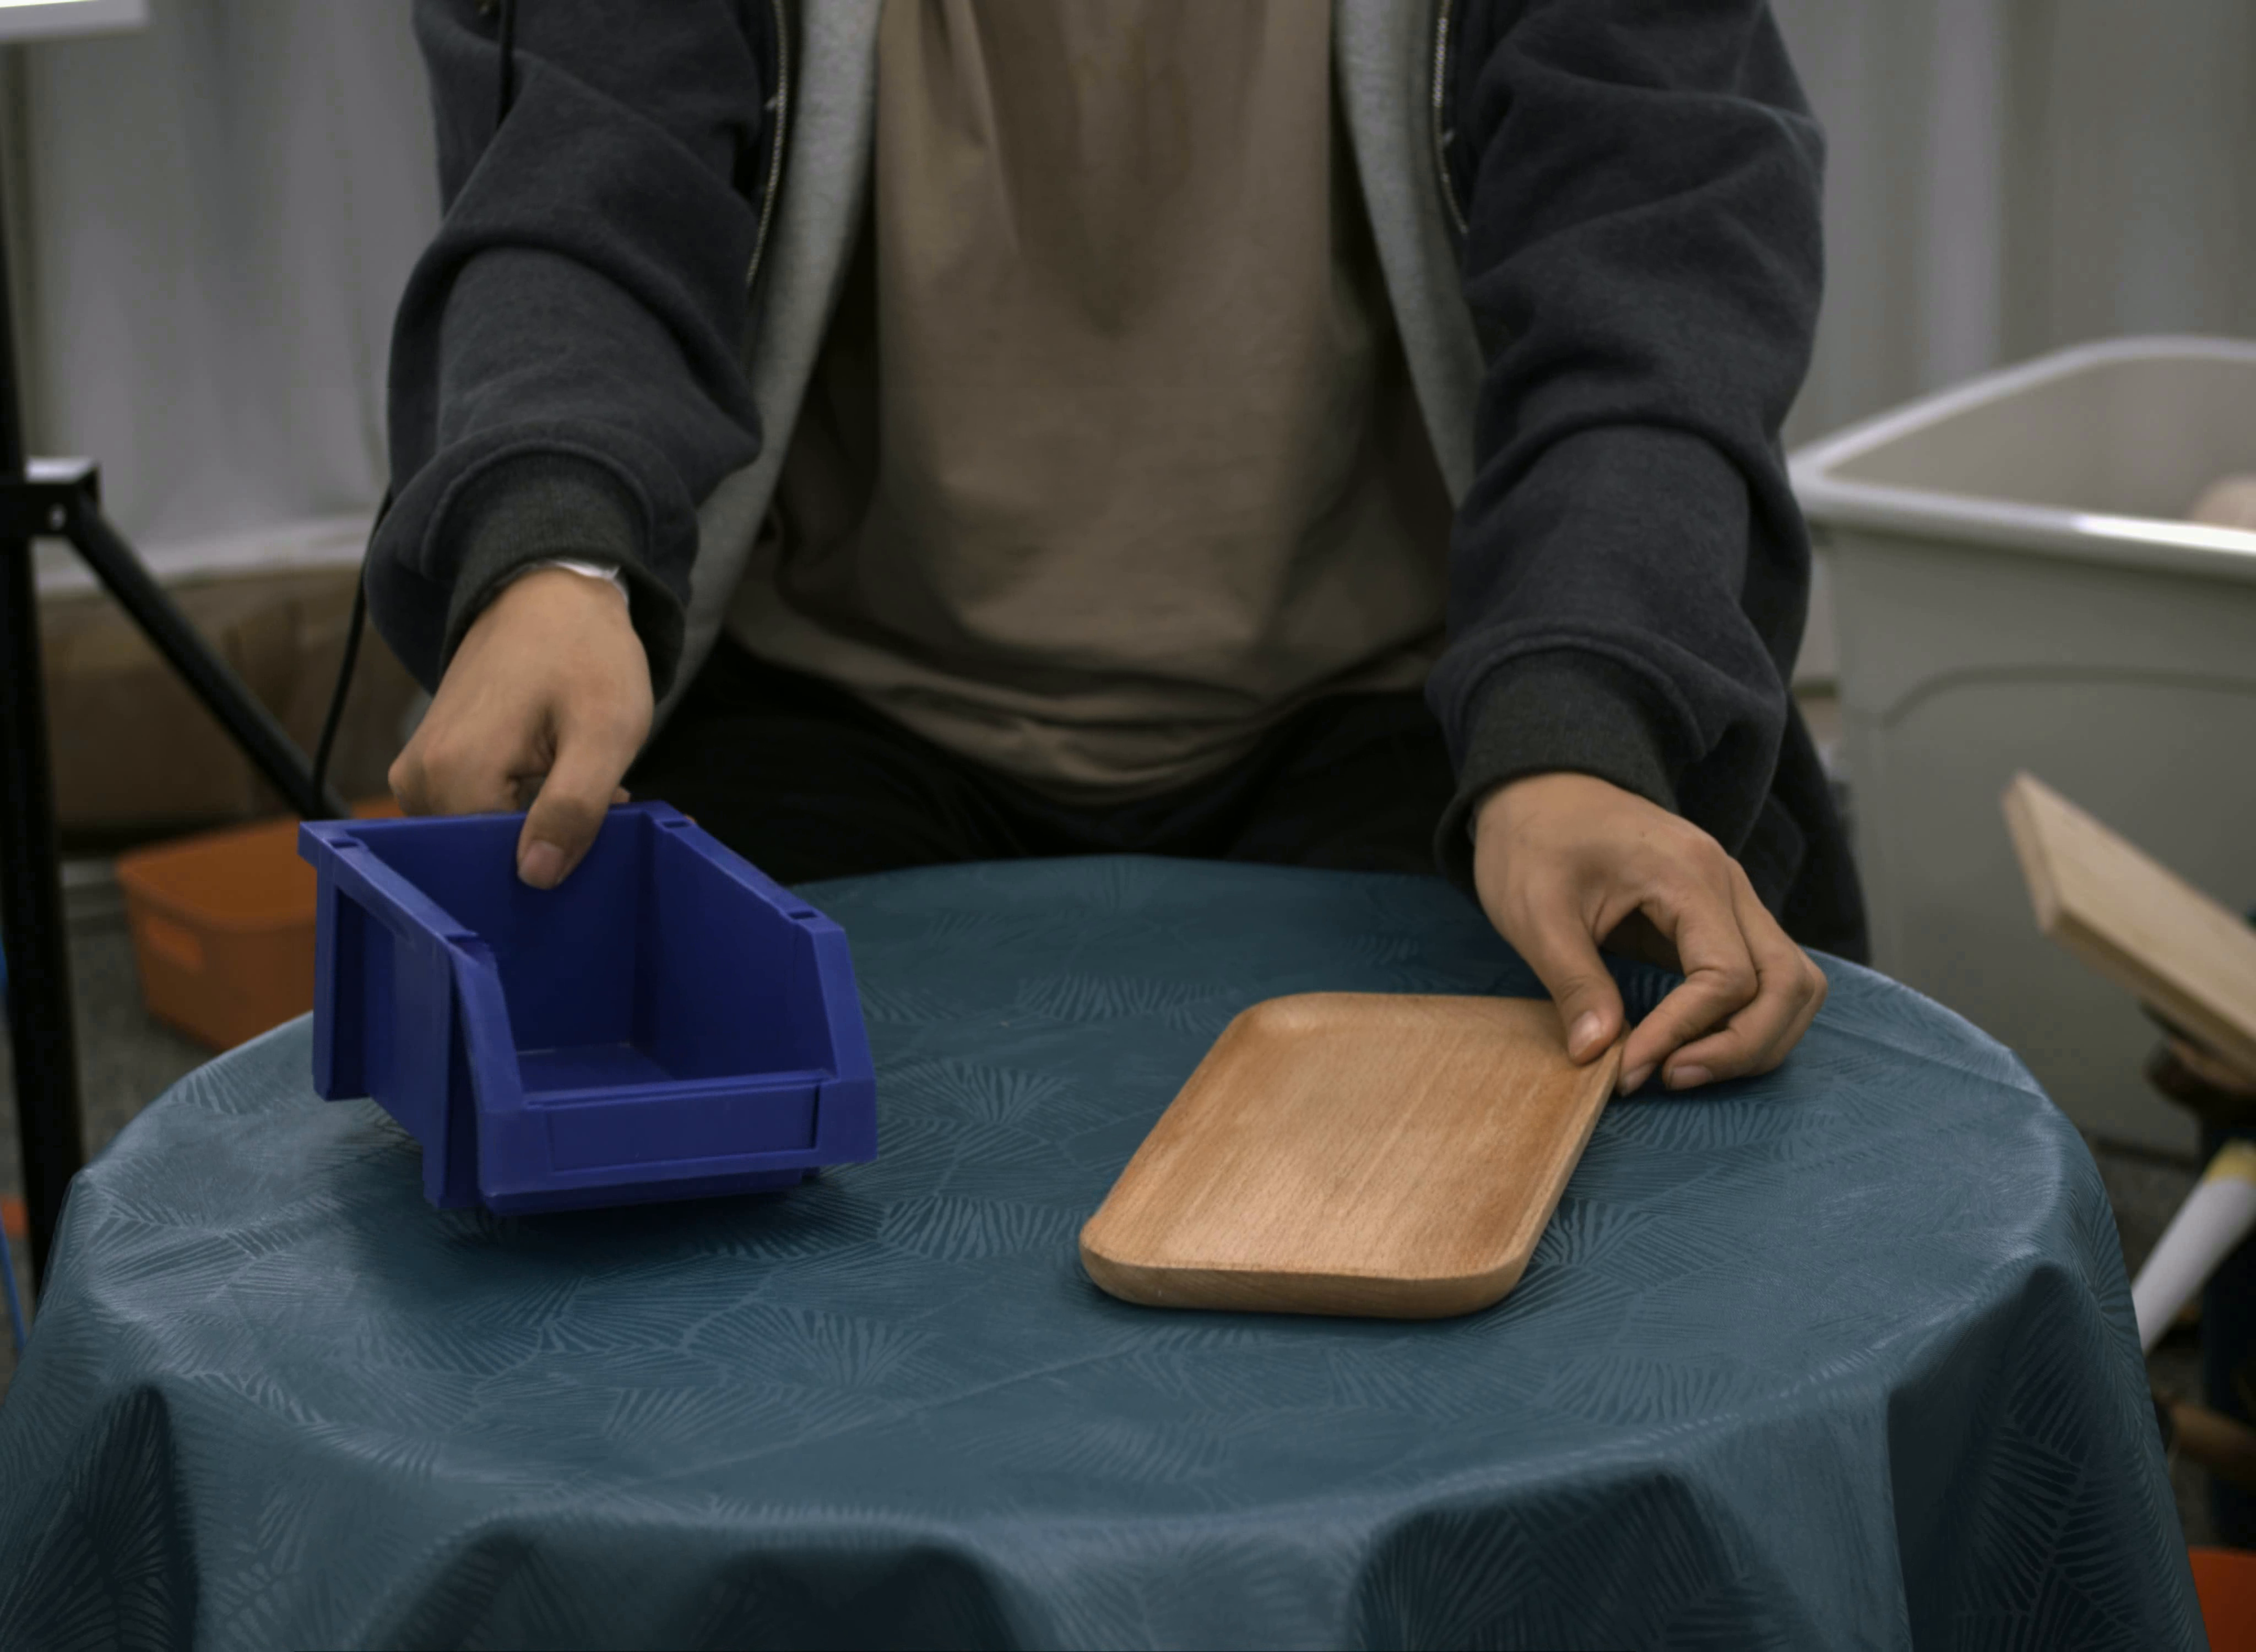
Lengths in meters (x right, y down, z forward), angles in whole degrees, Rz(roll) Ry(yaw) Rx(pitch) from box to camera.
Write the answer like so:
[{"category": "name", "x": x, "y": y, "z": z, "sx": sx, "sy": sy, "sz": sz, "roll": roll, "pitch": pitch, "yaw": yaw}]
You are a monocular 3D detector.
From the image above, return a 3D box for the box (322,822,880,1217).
[{"category": "box", "x": -0.157, "y": 0.059, "z": 1.587, "sx": 0.122, "sy": 0.082, "sz": 0.183, "roll": -3, "pitch": 13, "yaw": -22}]

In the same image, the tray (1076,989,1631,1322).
[{"category": "tray", "x": 0.071, "y": 0.094, "z": 1.564, "sx": 0.131, "sy": 0.023, "sz": 0.248, "roll": 4, "pitch": 16, "yaw": 14}]
